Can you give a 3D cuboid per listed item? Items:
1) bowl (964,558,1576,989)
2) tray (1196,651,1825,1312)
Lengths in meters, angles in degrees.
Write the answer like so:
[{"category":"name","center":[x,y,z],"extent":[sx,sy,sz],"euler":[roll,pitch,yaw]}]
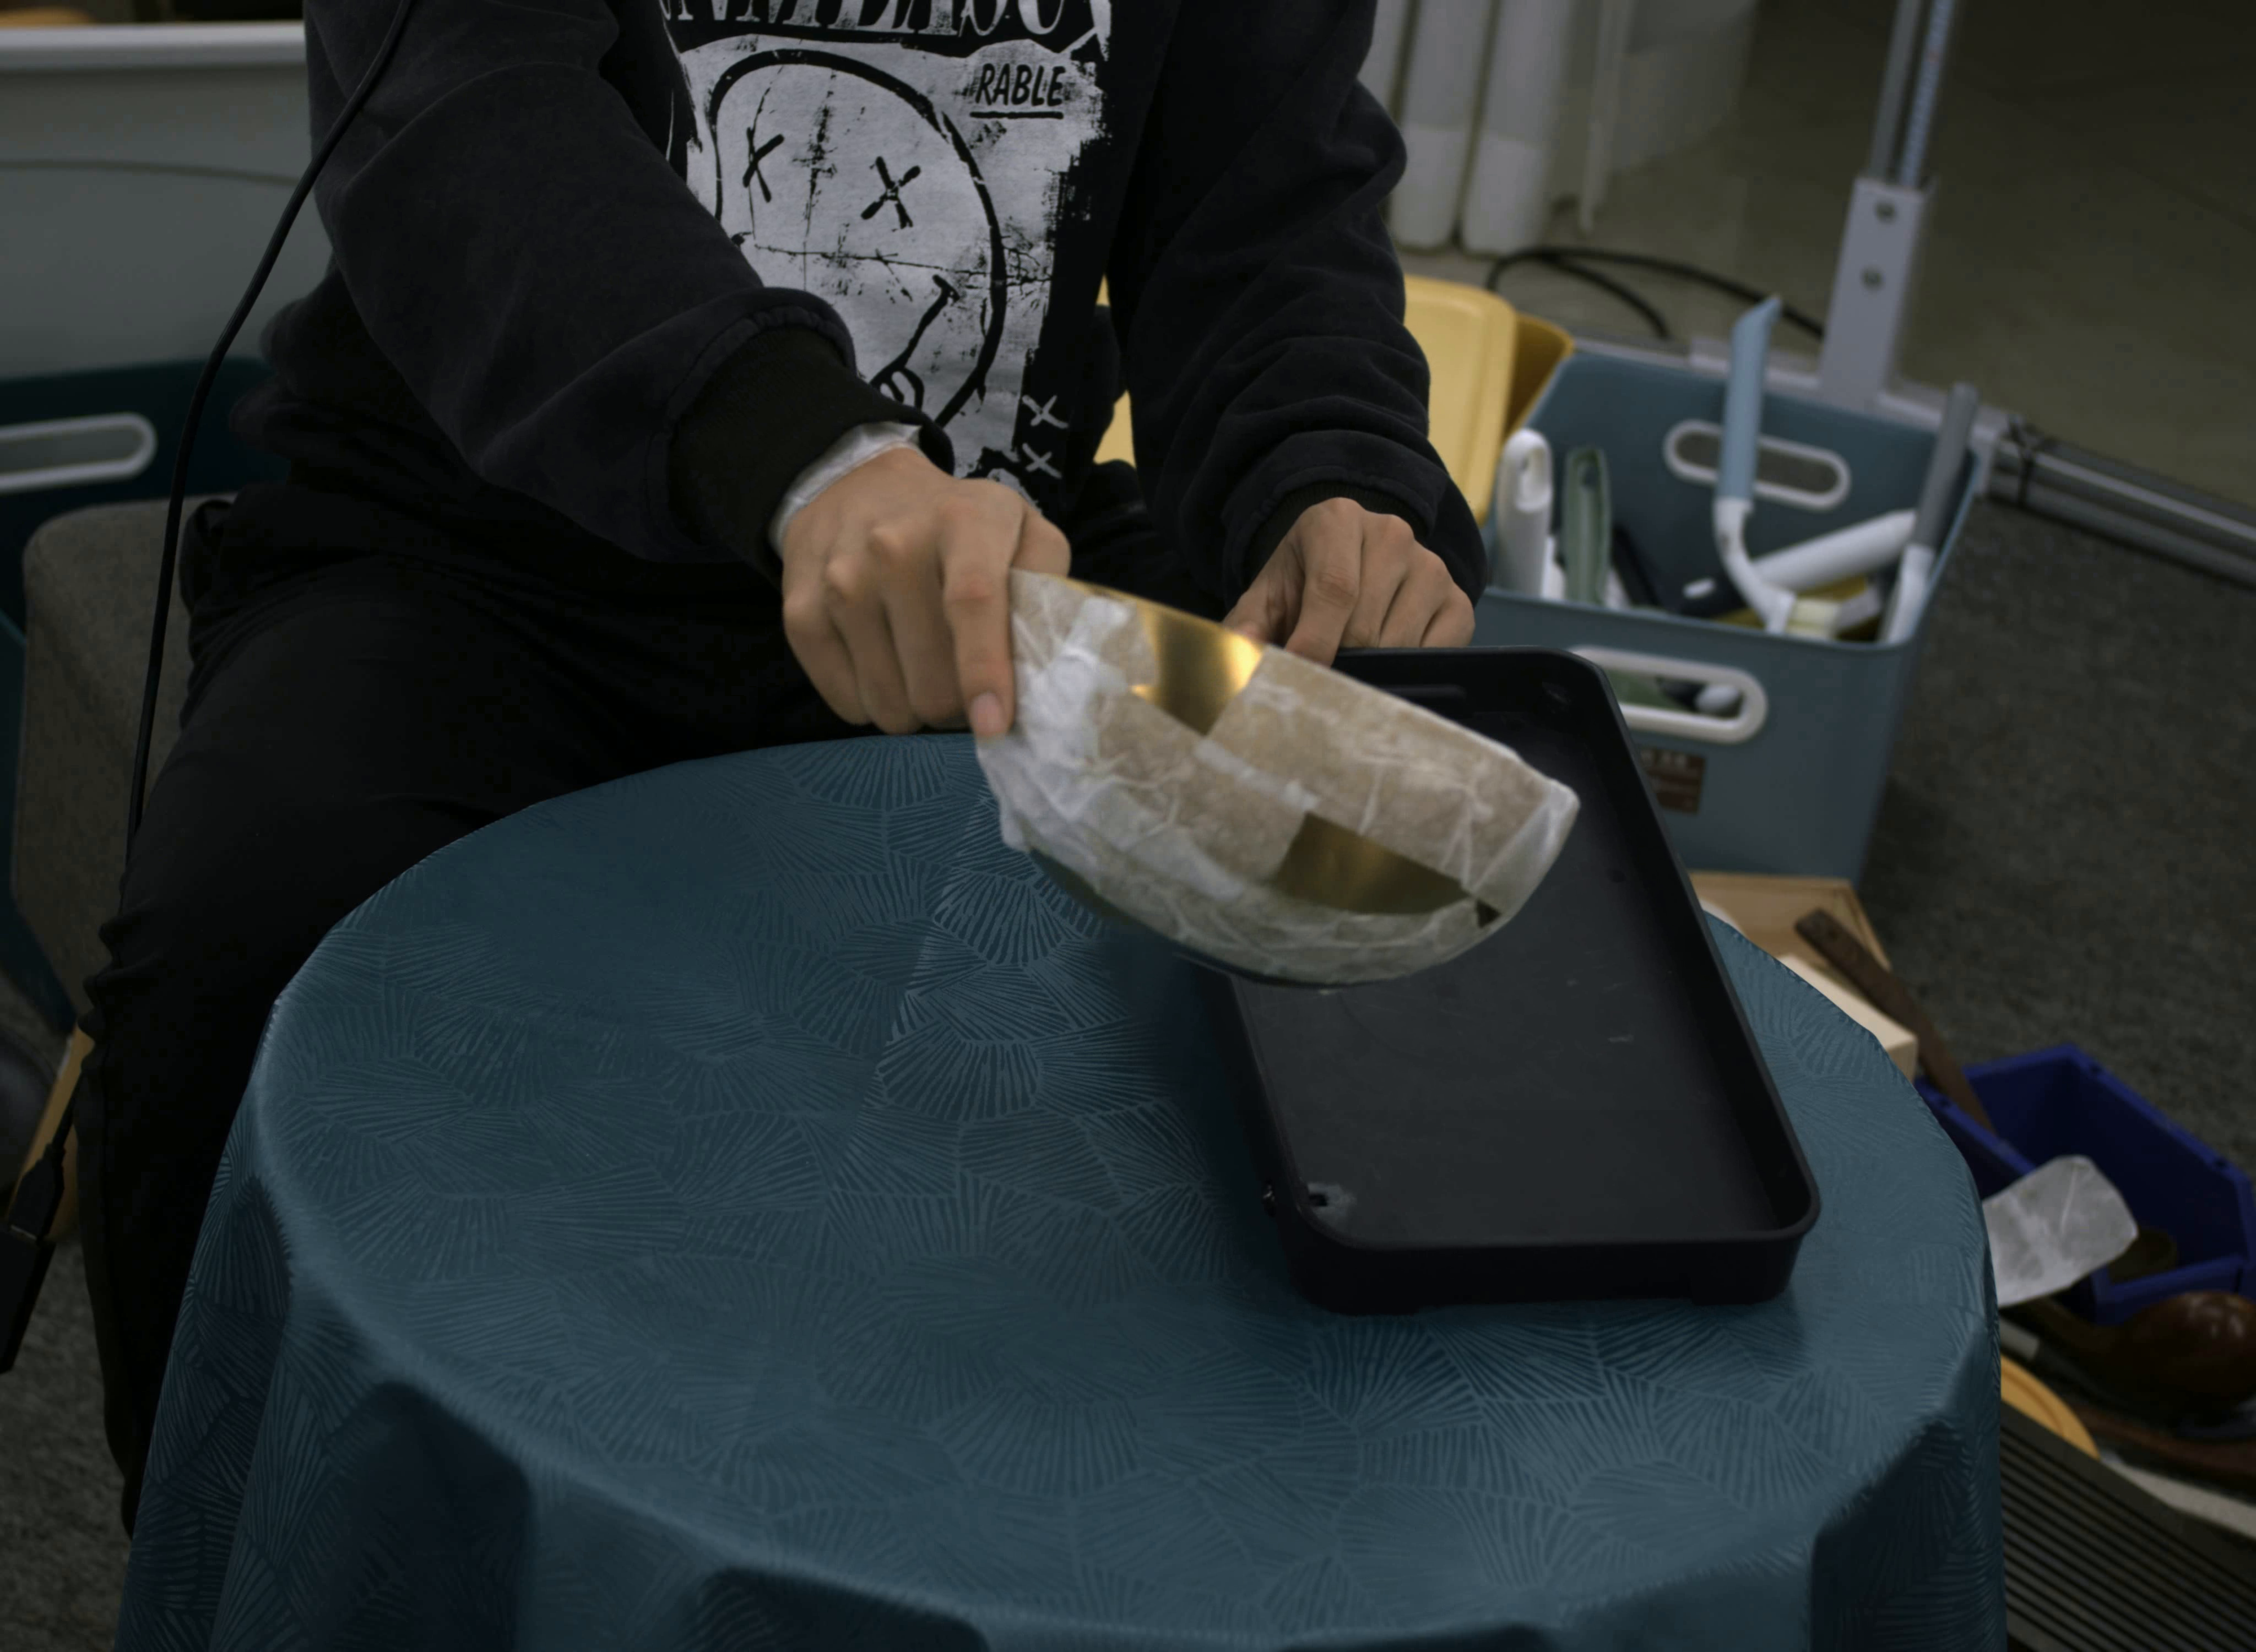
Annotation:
[{"category":"bowl","center":[0.031,-0.003,1.691],"extent":[0.214,0.095,0.214],"euler":[21,-3,1]},{"category":"tray","center":[0.116,0.048,1.864],"extent":[0.183,0.037,0.321],"euler":[-1,39,-12]}]
